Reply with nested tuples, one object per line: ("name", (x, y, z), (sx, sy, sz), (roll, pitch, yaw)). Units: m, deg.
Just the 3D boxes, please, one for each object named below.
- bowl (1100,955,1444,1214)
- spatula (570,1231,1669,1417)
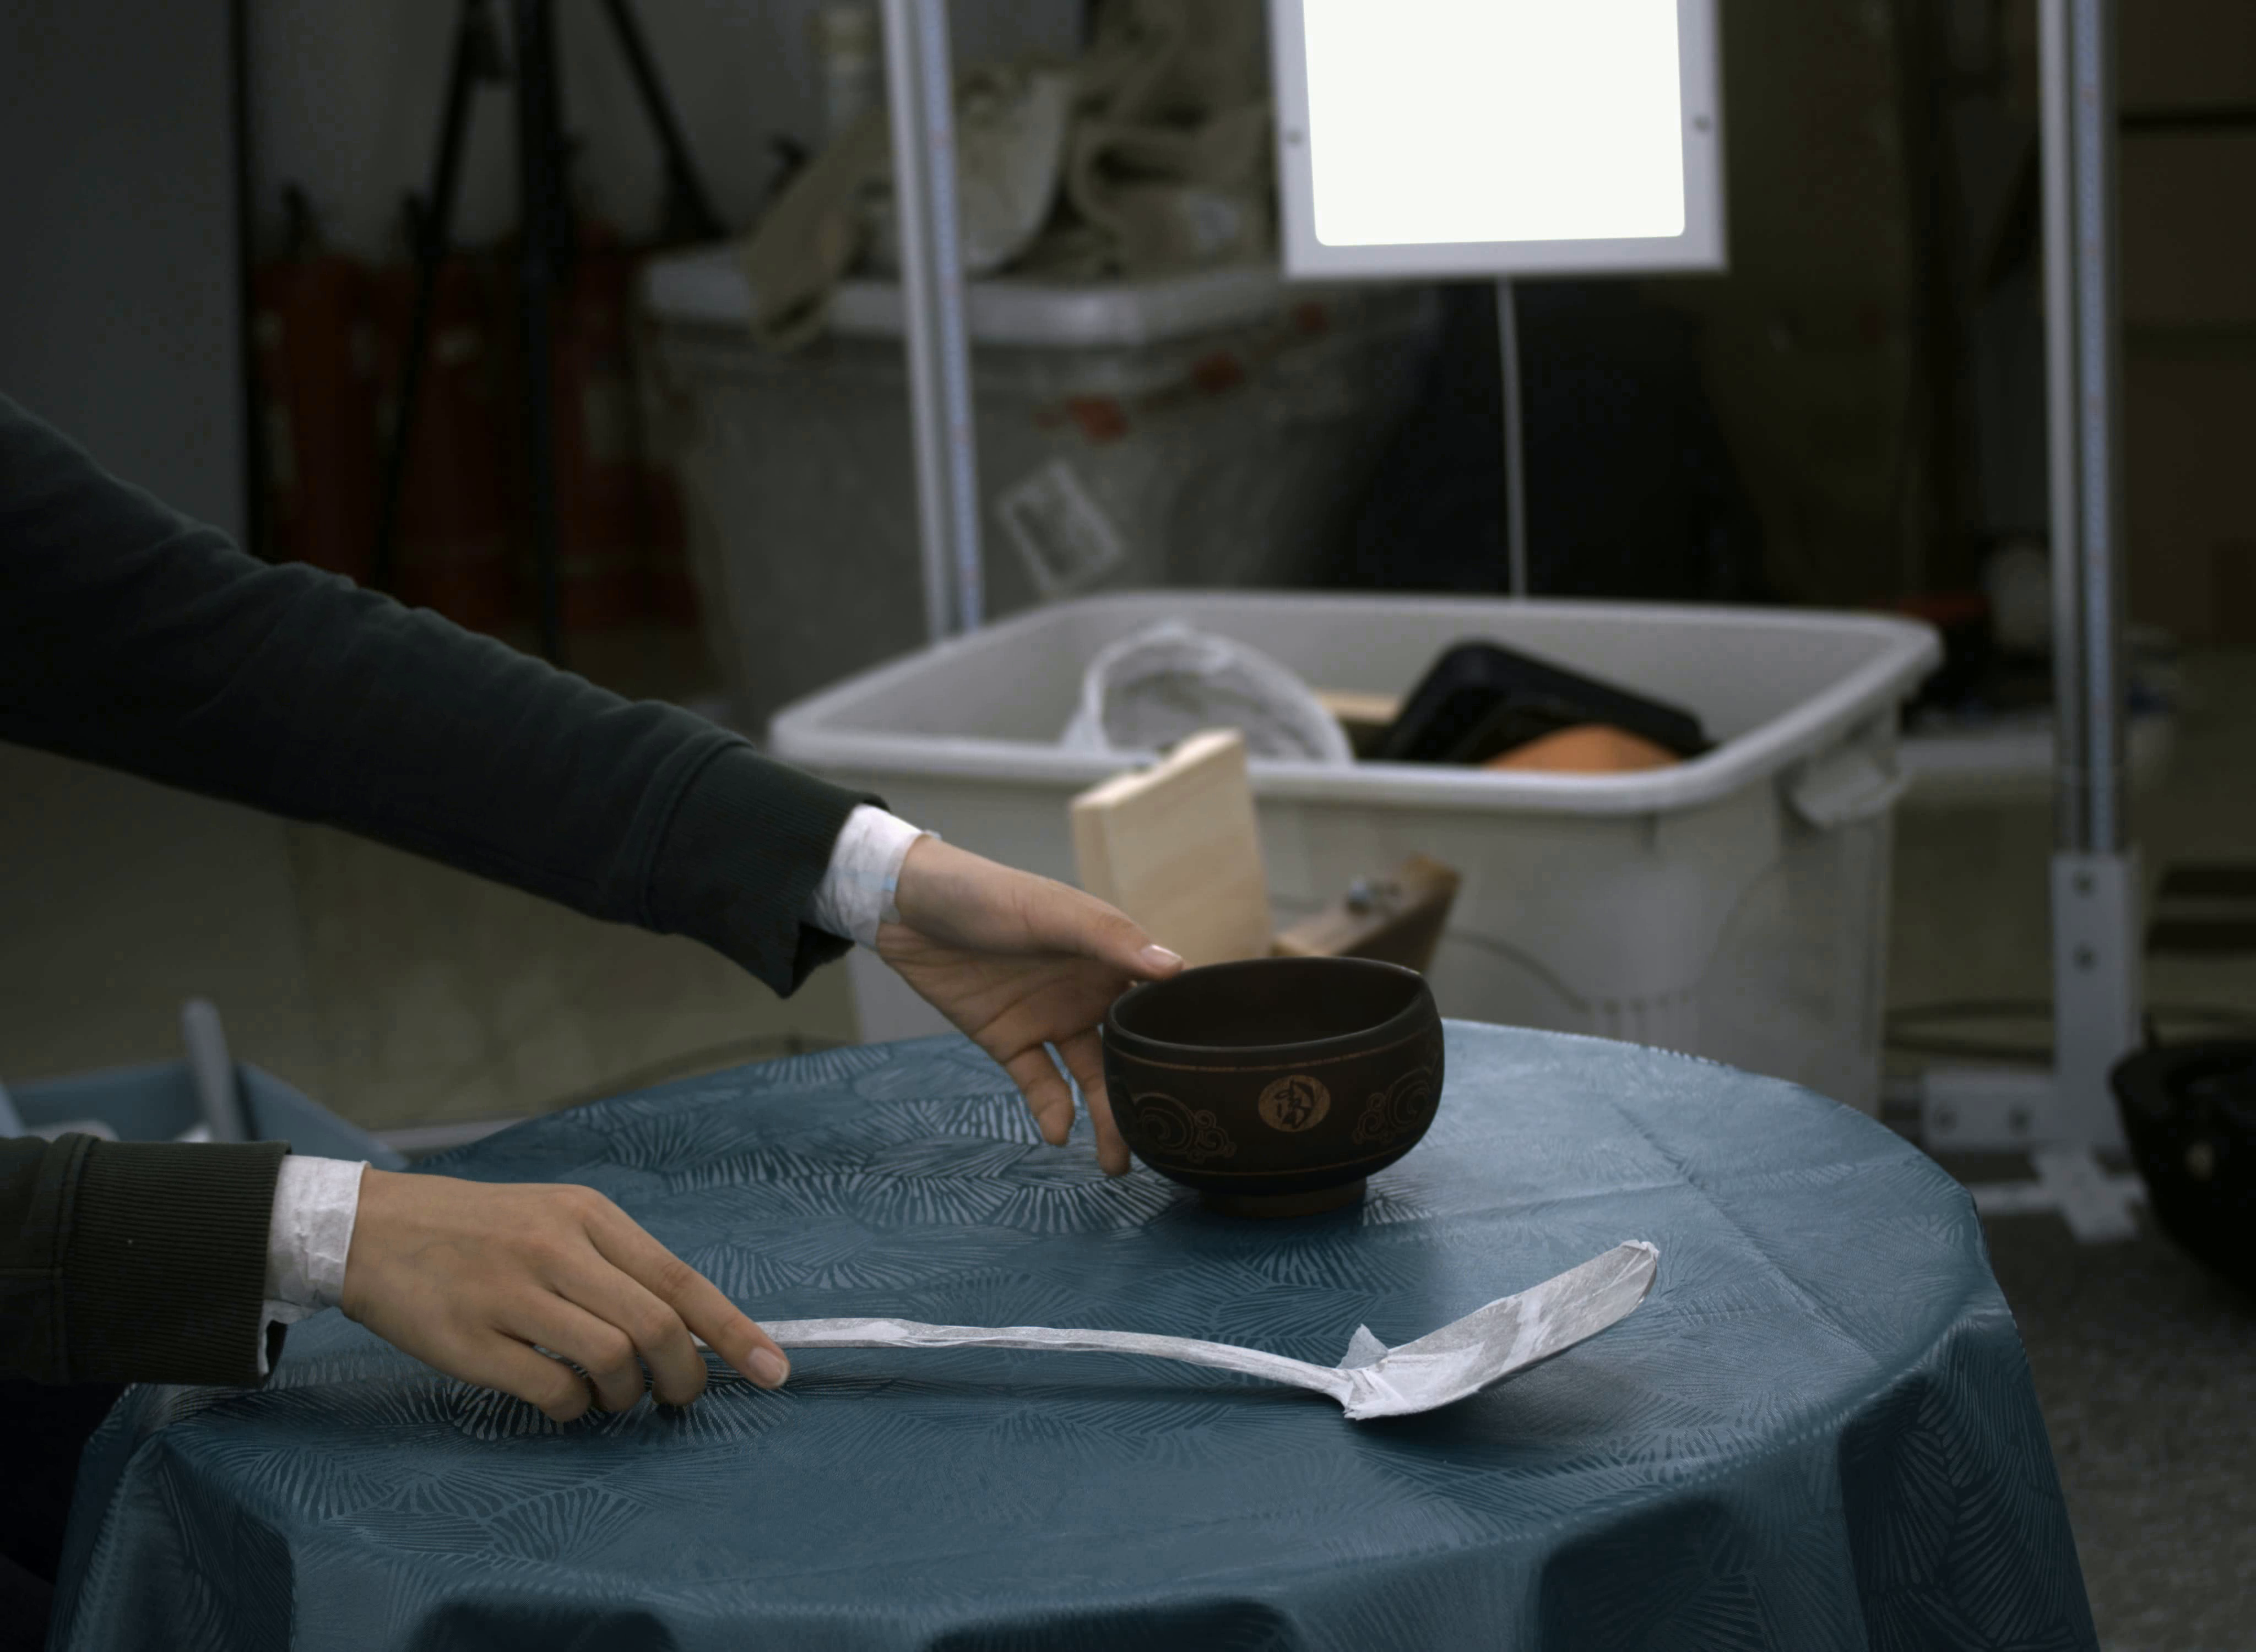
("bowl", (0.050, 0.091, 1.873), (0.118, 0.070, 0.118), (-5, 12, 0))
("spatula", (-0.012, 0.154, 1.707), (0.369, 0.045, 0.097), (0, 17, 20))
